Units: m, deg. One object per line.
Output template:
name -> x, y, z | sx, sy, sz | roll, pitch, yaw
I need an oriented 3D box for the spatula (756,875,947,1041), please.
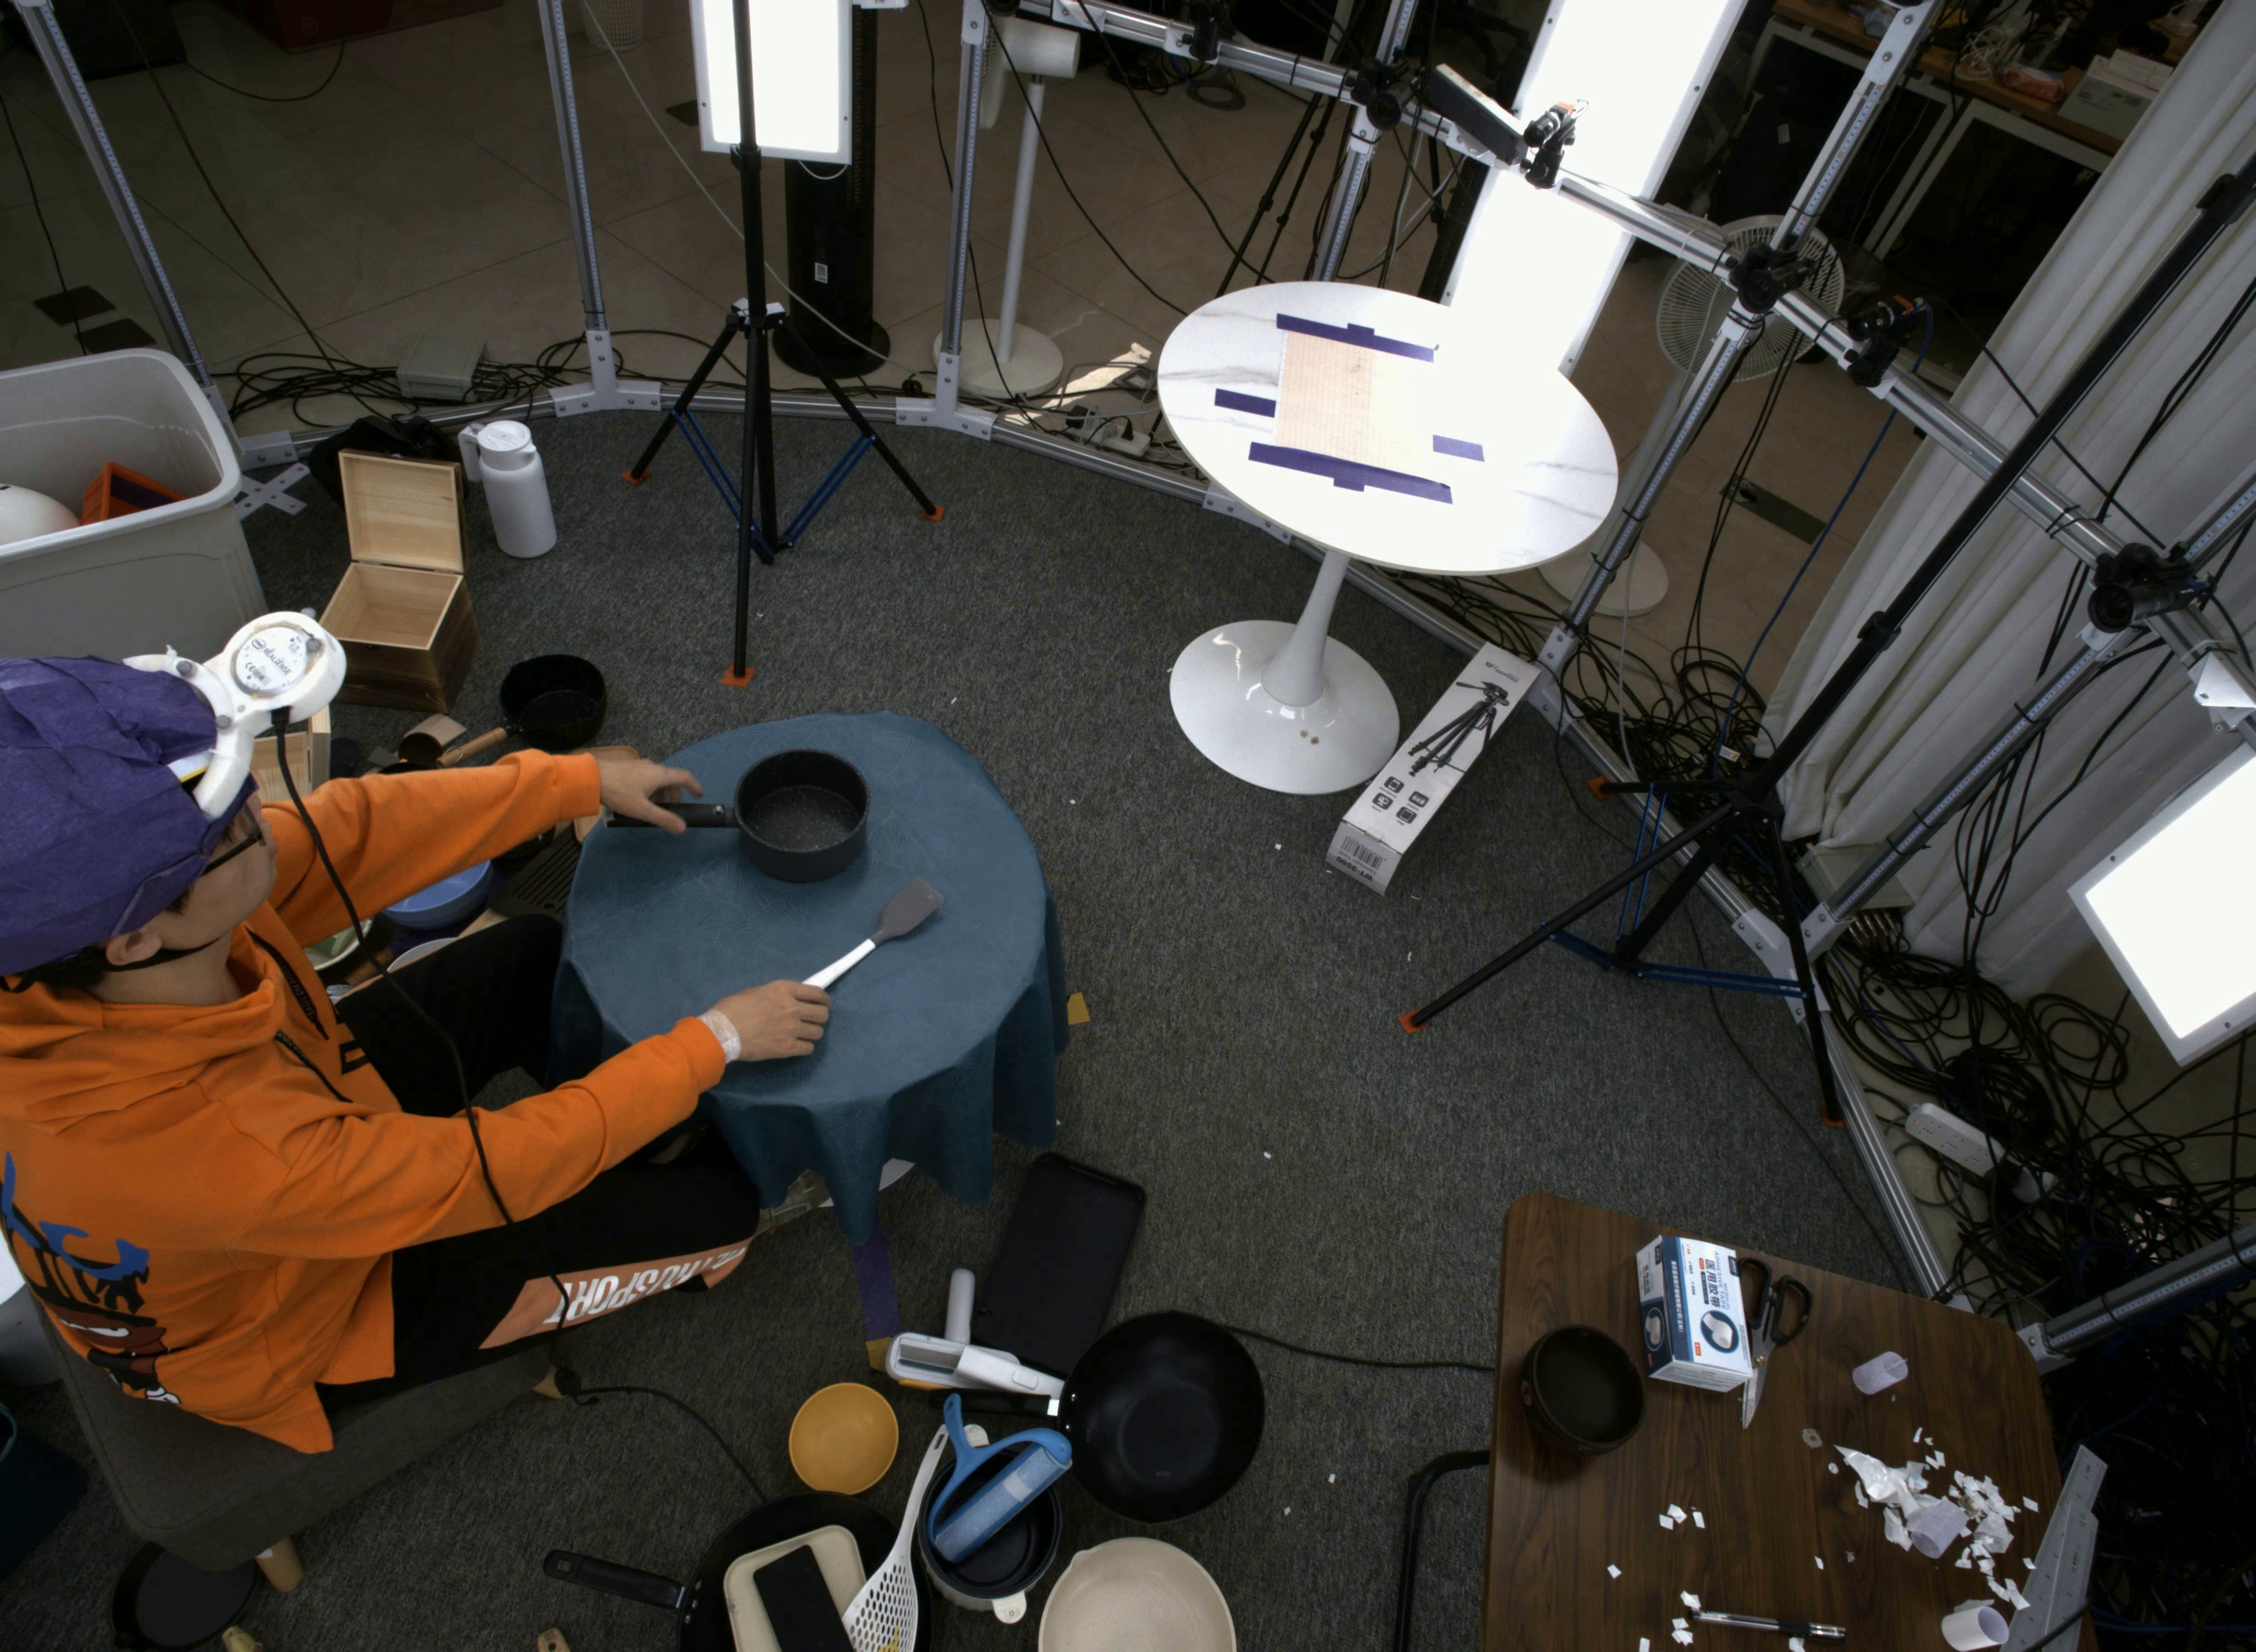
spatula -> -0.339, 0.158, 1.597 | 0.057, 0.033, 0.288 | 36, 54, 17

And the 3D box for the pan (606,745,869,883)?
pan -> -0.498, -0.012, 1.648 | 0.330, 0.088, 0.168 | -2, 53, -19
